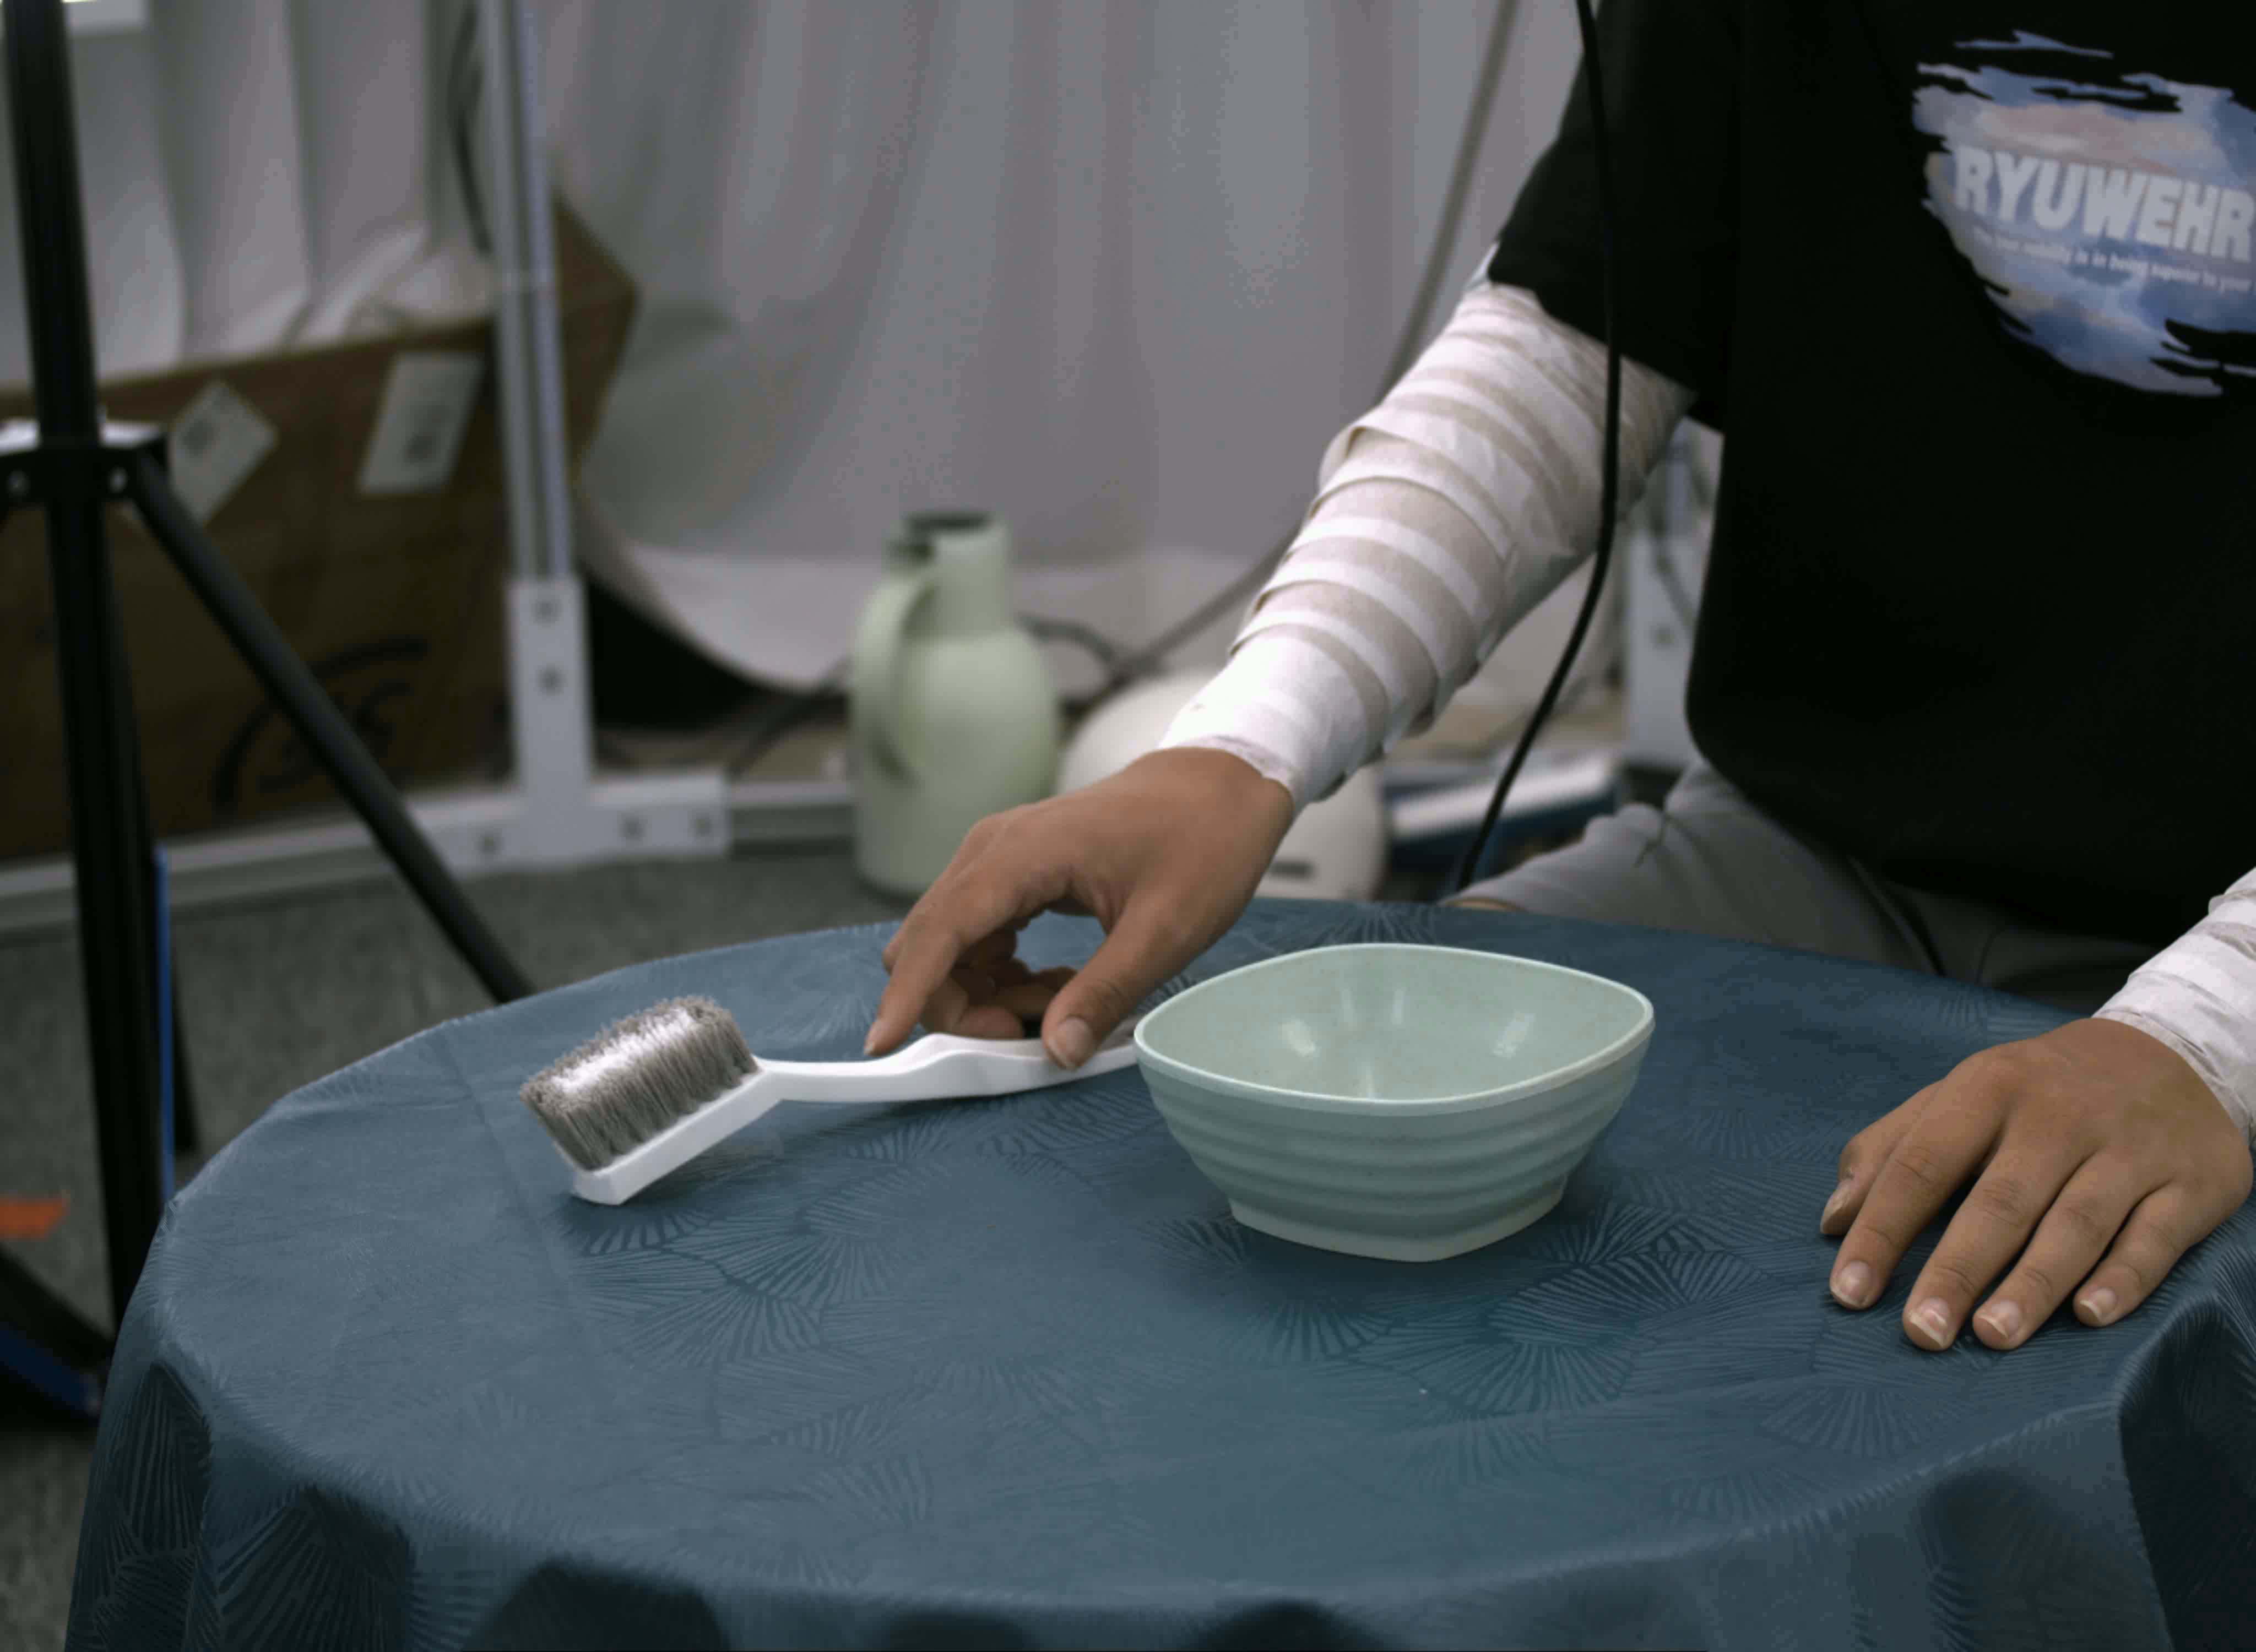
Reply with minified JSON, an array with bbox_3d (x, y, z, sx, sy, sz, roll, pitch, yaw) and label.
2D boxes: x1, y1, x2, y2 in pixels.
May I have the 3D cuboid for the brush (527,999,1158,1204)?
[{"bbox_3d":[-0.072,0.066,1.628,0.238,0.050,0.035,-13,21,-31],"label":"brush"}]

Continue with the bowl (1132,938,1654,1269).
[{"bbox_3d":[0.077,0.083,1.532,0.150,0.058,0.152,-2,17,-1],"label":"bowl"}]
